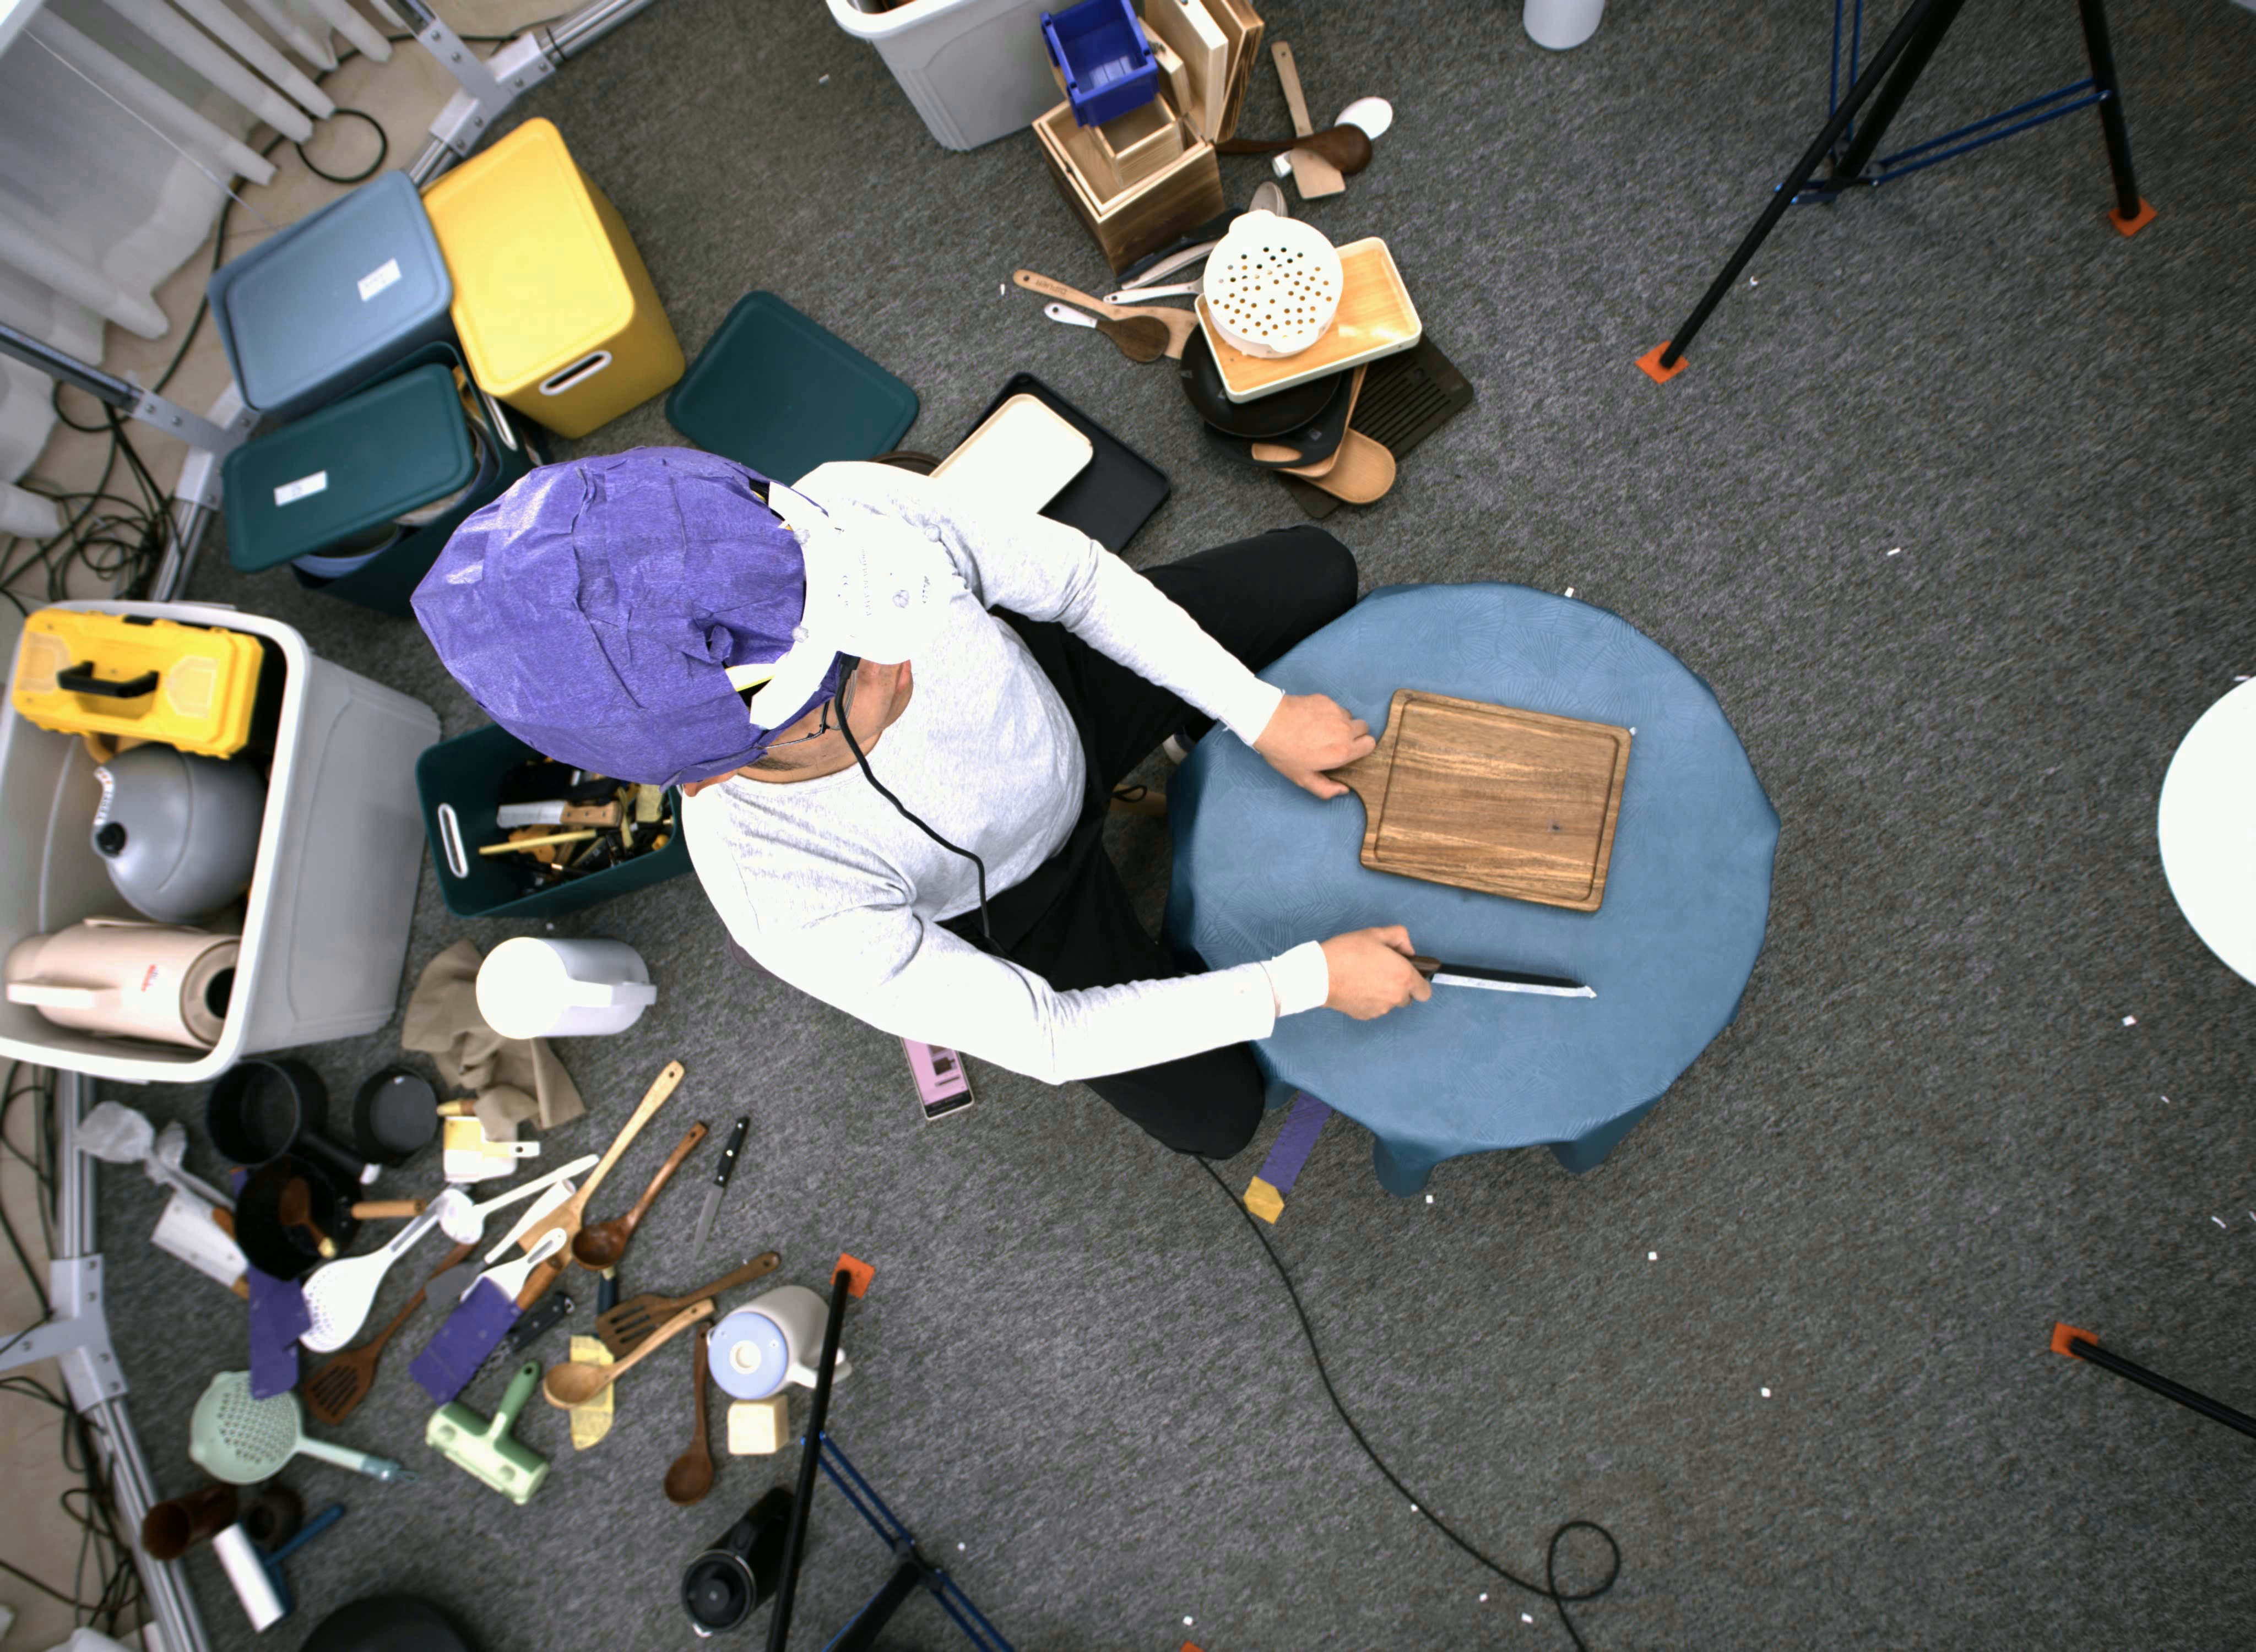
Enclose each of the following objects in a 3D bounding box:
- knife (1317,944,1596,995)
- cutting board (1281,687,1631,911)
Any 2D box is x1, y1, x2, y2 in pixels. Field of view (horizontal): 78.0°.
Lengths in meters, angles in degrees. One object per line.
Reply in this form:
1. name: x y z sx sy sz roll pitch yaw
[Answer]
1. knife: 0.337 0.149 1.419 0.290 0.051 0.019 7 57 6
2. cutting board: 0.335 -0.041 1.444 0.353 0.023 0.200 11 88 11
